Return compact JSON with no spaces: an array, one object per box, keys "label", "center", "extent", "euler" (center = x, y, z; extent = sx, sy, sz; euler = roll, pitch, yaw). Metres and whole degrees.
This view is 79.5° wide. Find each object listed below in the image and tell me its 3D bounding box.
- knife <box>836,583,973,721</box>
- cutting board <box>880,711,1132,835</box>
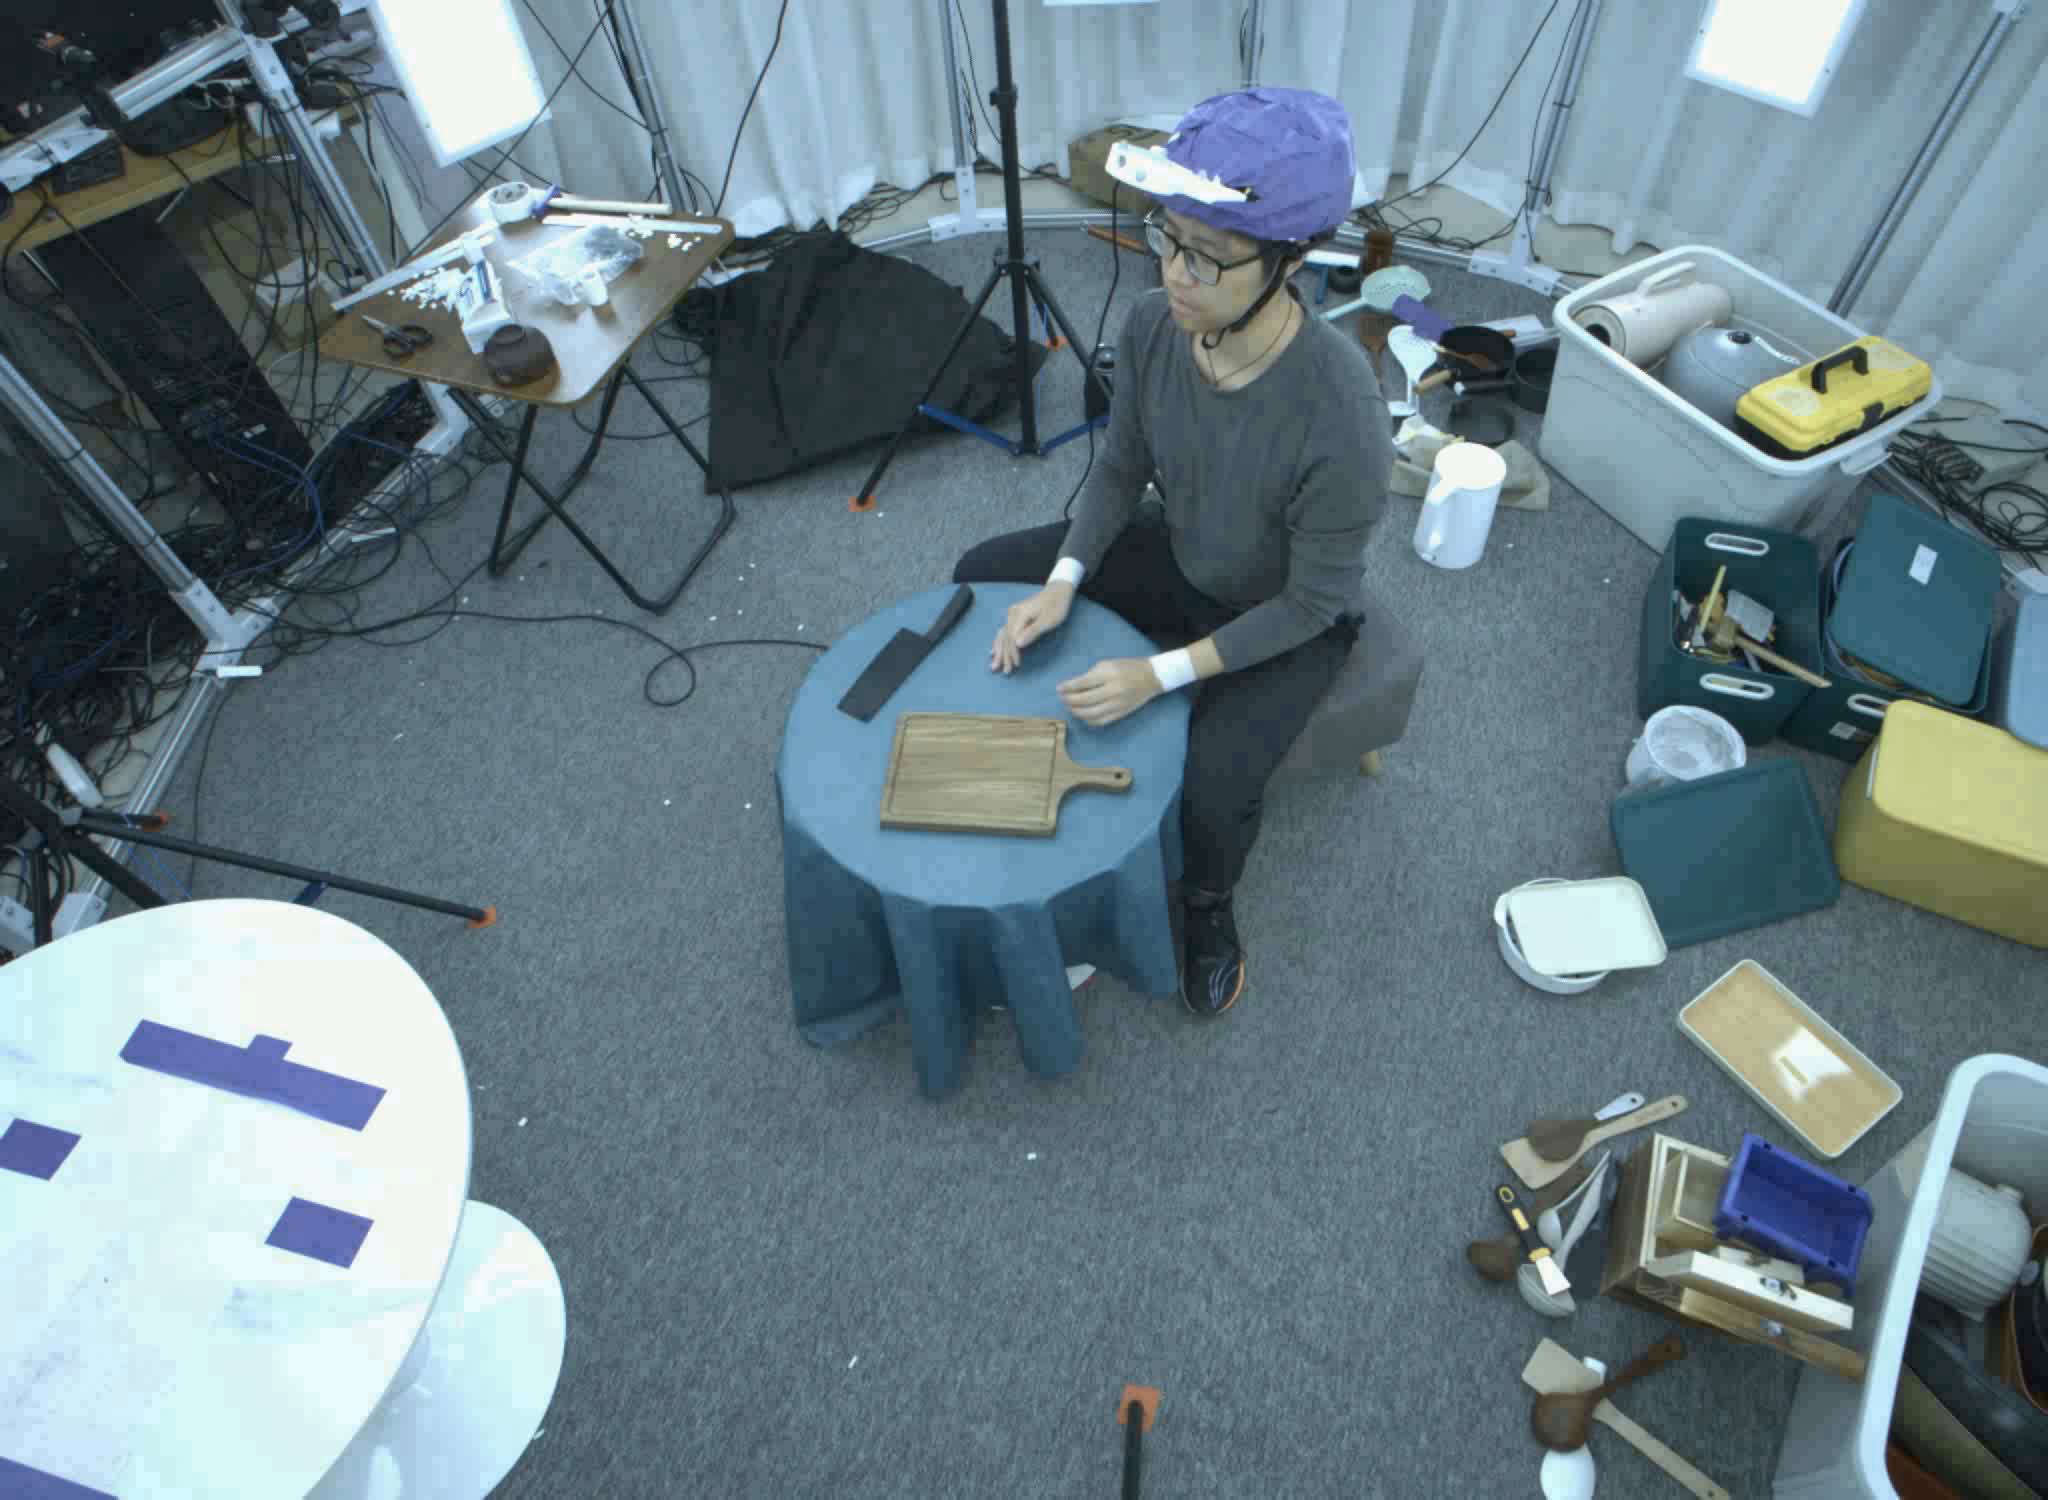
[{"label":"knife","center":[-0.179,-0.159,1.905],"extent":[0.079,0.021,0.304],"euler":[30,62,22]},{"label":"cutting board","center":[-0.021,0.032,1.759],"extent":[0.351,0.023,0.199],"euler":[3,55,3]}]
